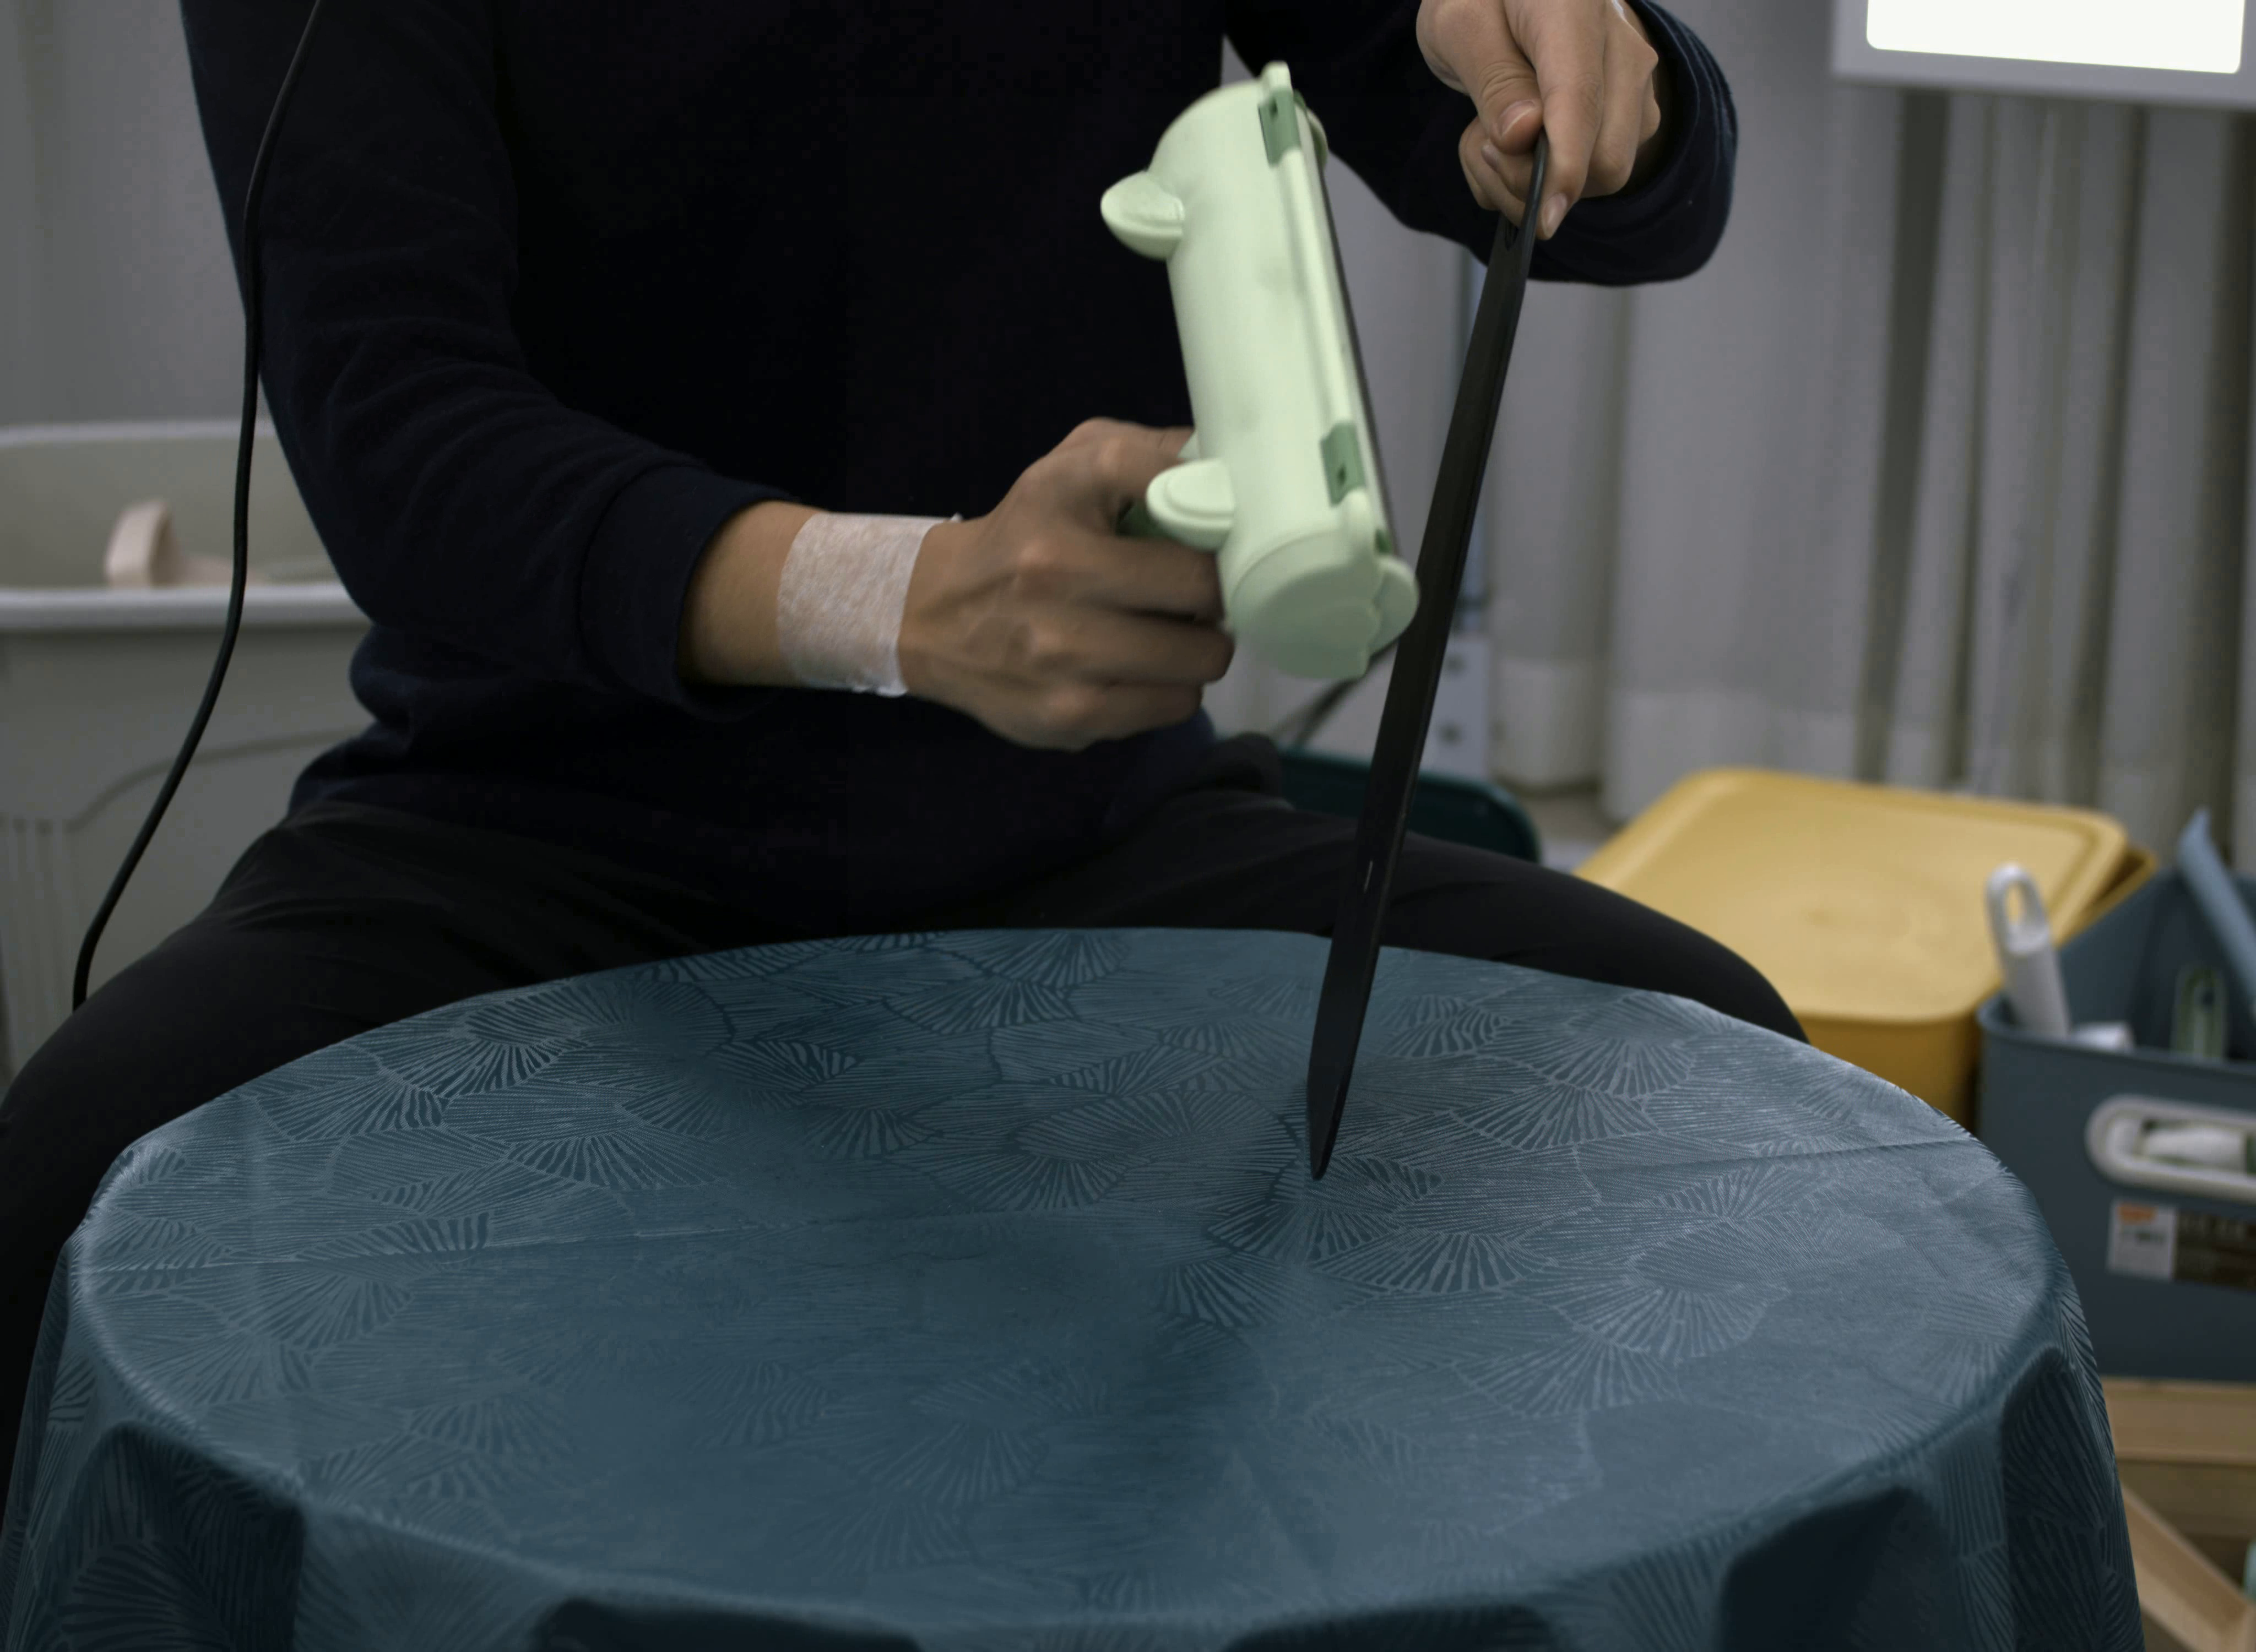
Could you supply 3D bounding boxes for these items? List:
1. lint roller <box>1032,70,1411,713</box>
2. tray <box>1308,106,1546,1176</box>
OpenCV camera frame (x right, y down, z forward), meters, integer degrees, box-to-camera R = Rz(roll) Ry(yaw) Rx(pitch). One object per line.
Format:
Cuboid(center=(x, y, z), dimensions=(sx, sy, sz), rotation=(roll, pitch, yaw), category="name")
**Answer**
Cuboid(center=(0.004, -0.100, 1.543), dimensions=(0.083, 0.183, 0.196), rotation=(21, 42, -31), category="lint roller")
Cuboid(center=(0.093, -0.060, 1.624), dimensions=(0.010, 0.327, 0.210), rotation=(12, 9, -1), category="tray")
